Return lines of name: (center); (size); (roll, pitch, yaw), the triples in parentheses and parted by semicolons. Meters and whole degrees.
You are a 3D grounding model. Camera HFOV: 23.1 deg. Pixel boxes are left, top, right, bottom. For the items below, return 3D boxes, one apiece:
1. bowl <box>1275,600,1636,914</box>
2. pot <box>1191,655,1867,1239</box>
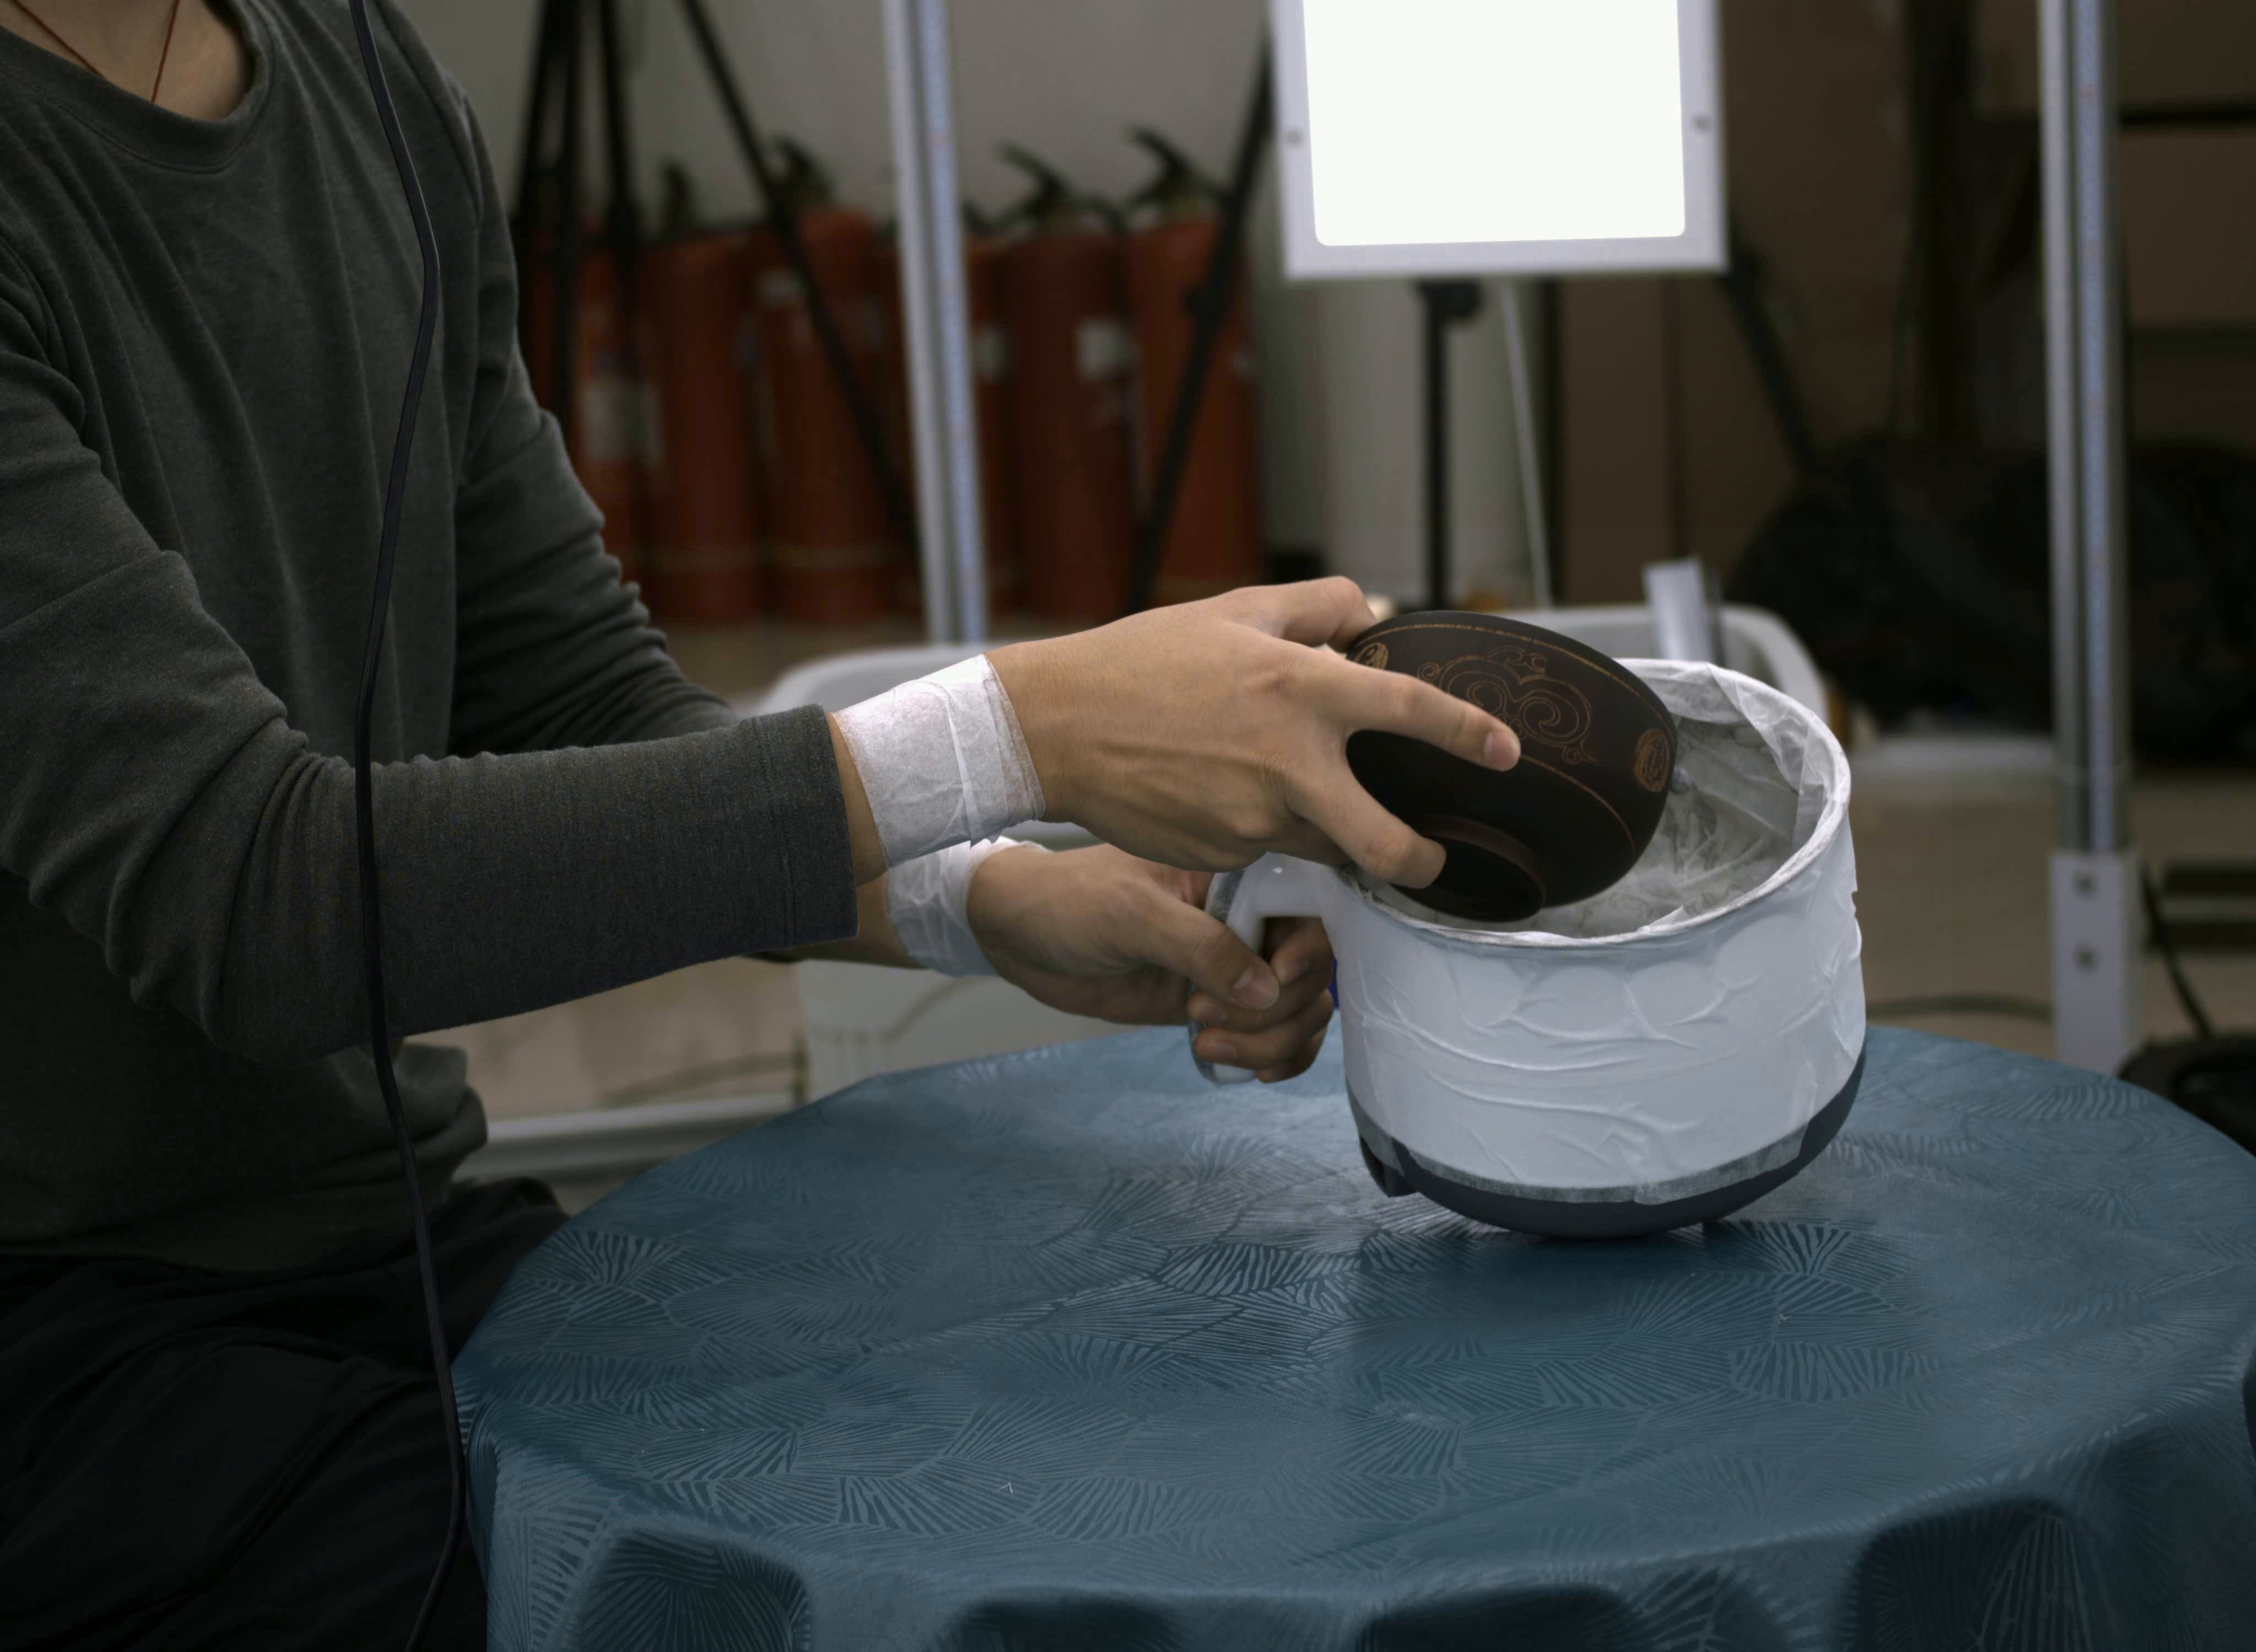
bowl: (0.105, -0.015, 1.787); (0.118, 0.069, 0.118); (10, -28, 4)
pot: (0.131, 0.042, 1.844); (0.236, 0.137, 0.176); (0, 33, 17)
